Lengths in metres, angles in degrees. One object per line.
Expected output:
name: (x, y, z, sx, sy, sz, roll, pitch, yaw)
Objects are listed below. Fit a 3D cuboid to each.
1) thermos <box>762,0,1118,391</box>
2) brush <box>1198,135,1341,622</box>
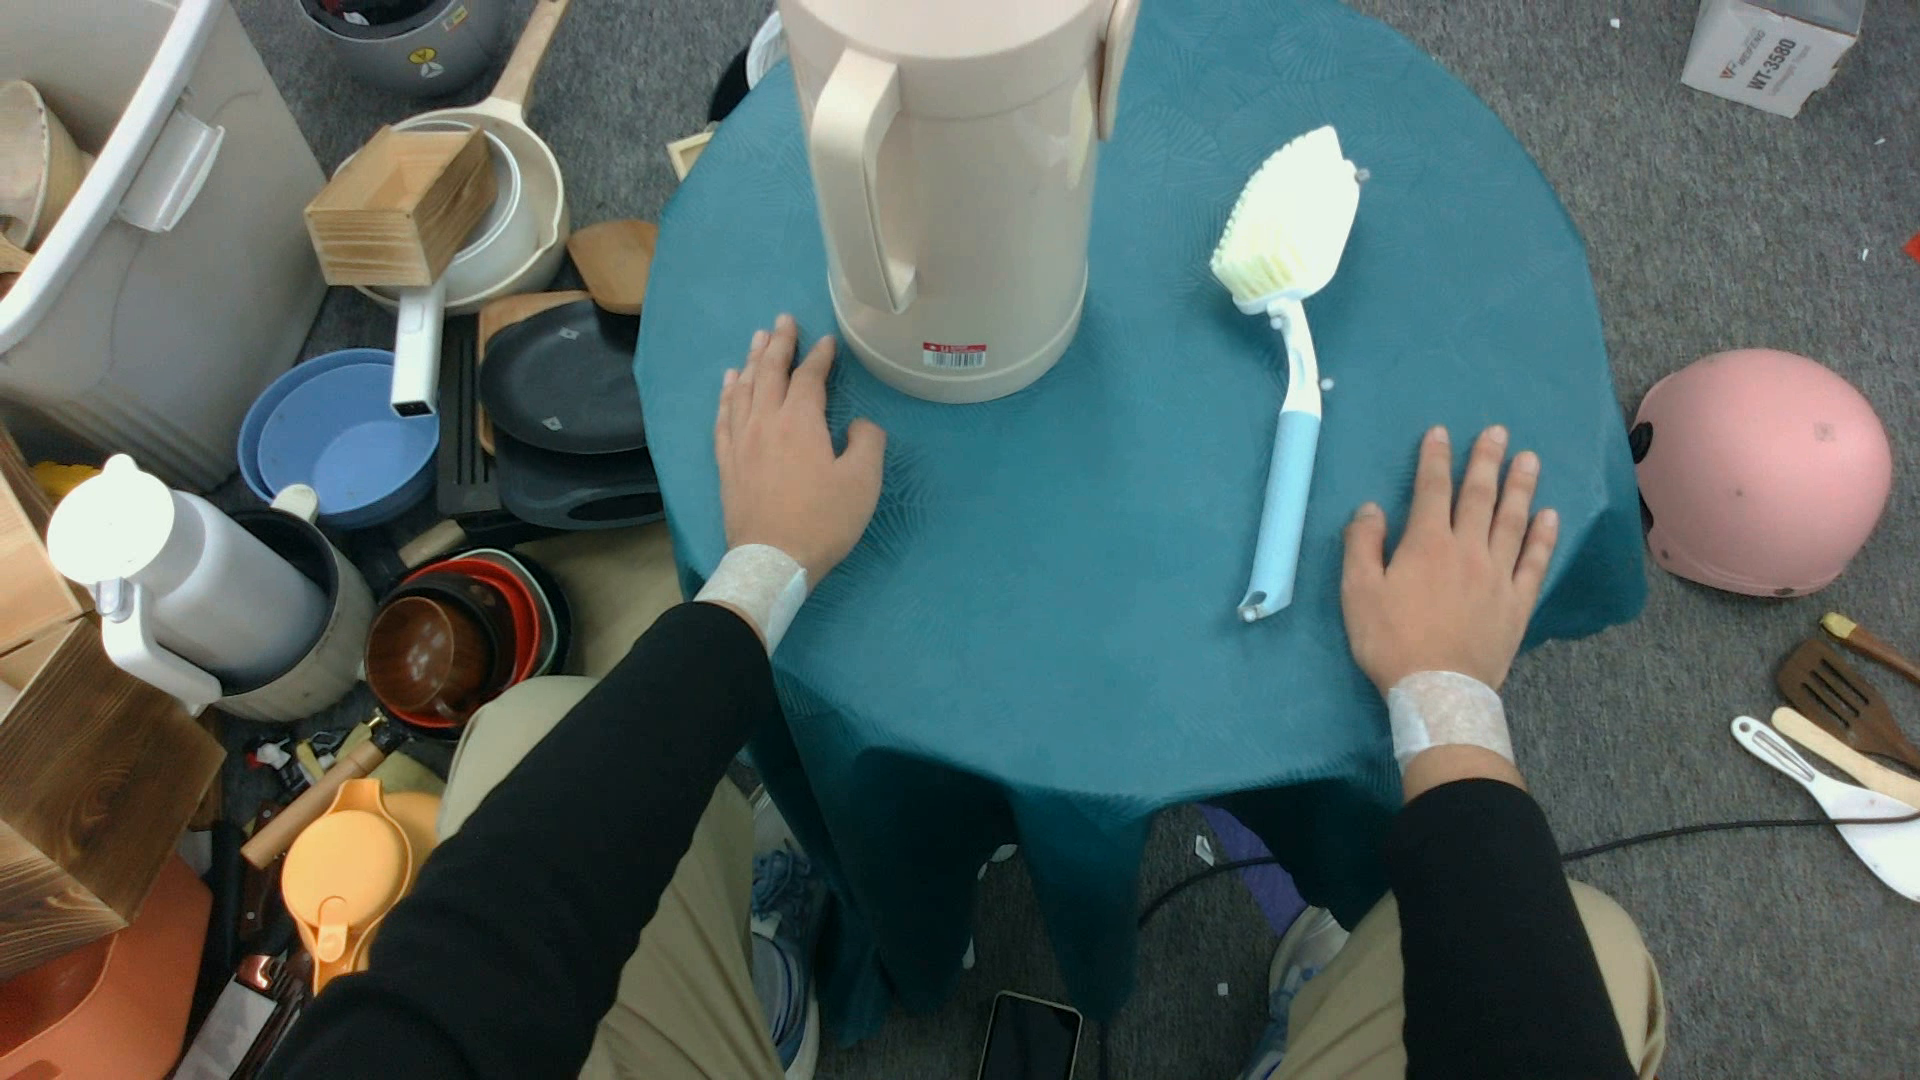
thermos: (-0.021, -0.224, 0.680, 0.175, 0.405, 0.208, 21, 69, 7)
brush: (0.174, -0.112, 0.805, 0.084, 0.083, 0.326, 14, 67, 1)
